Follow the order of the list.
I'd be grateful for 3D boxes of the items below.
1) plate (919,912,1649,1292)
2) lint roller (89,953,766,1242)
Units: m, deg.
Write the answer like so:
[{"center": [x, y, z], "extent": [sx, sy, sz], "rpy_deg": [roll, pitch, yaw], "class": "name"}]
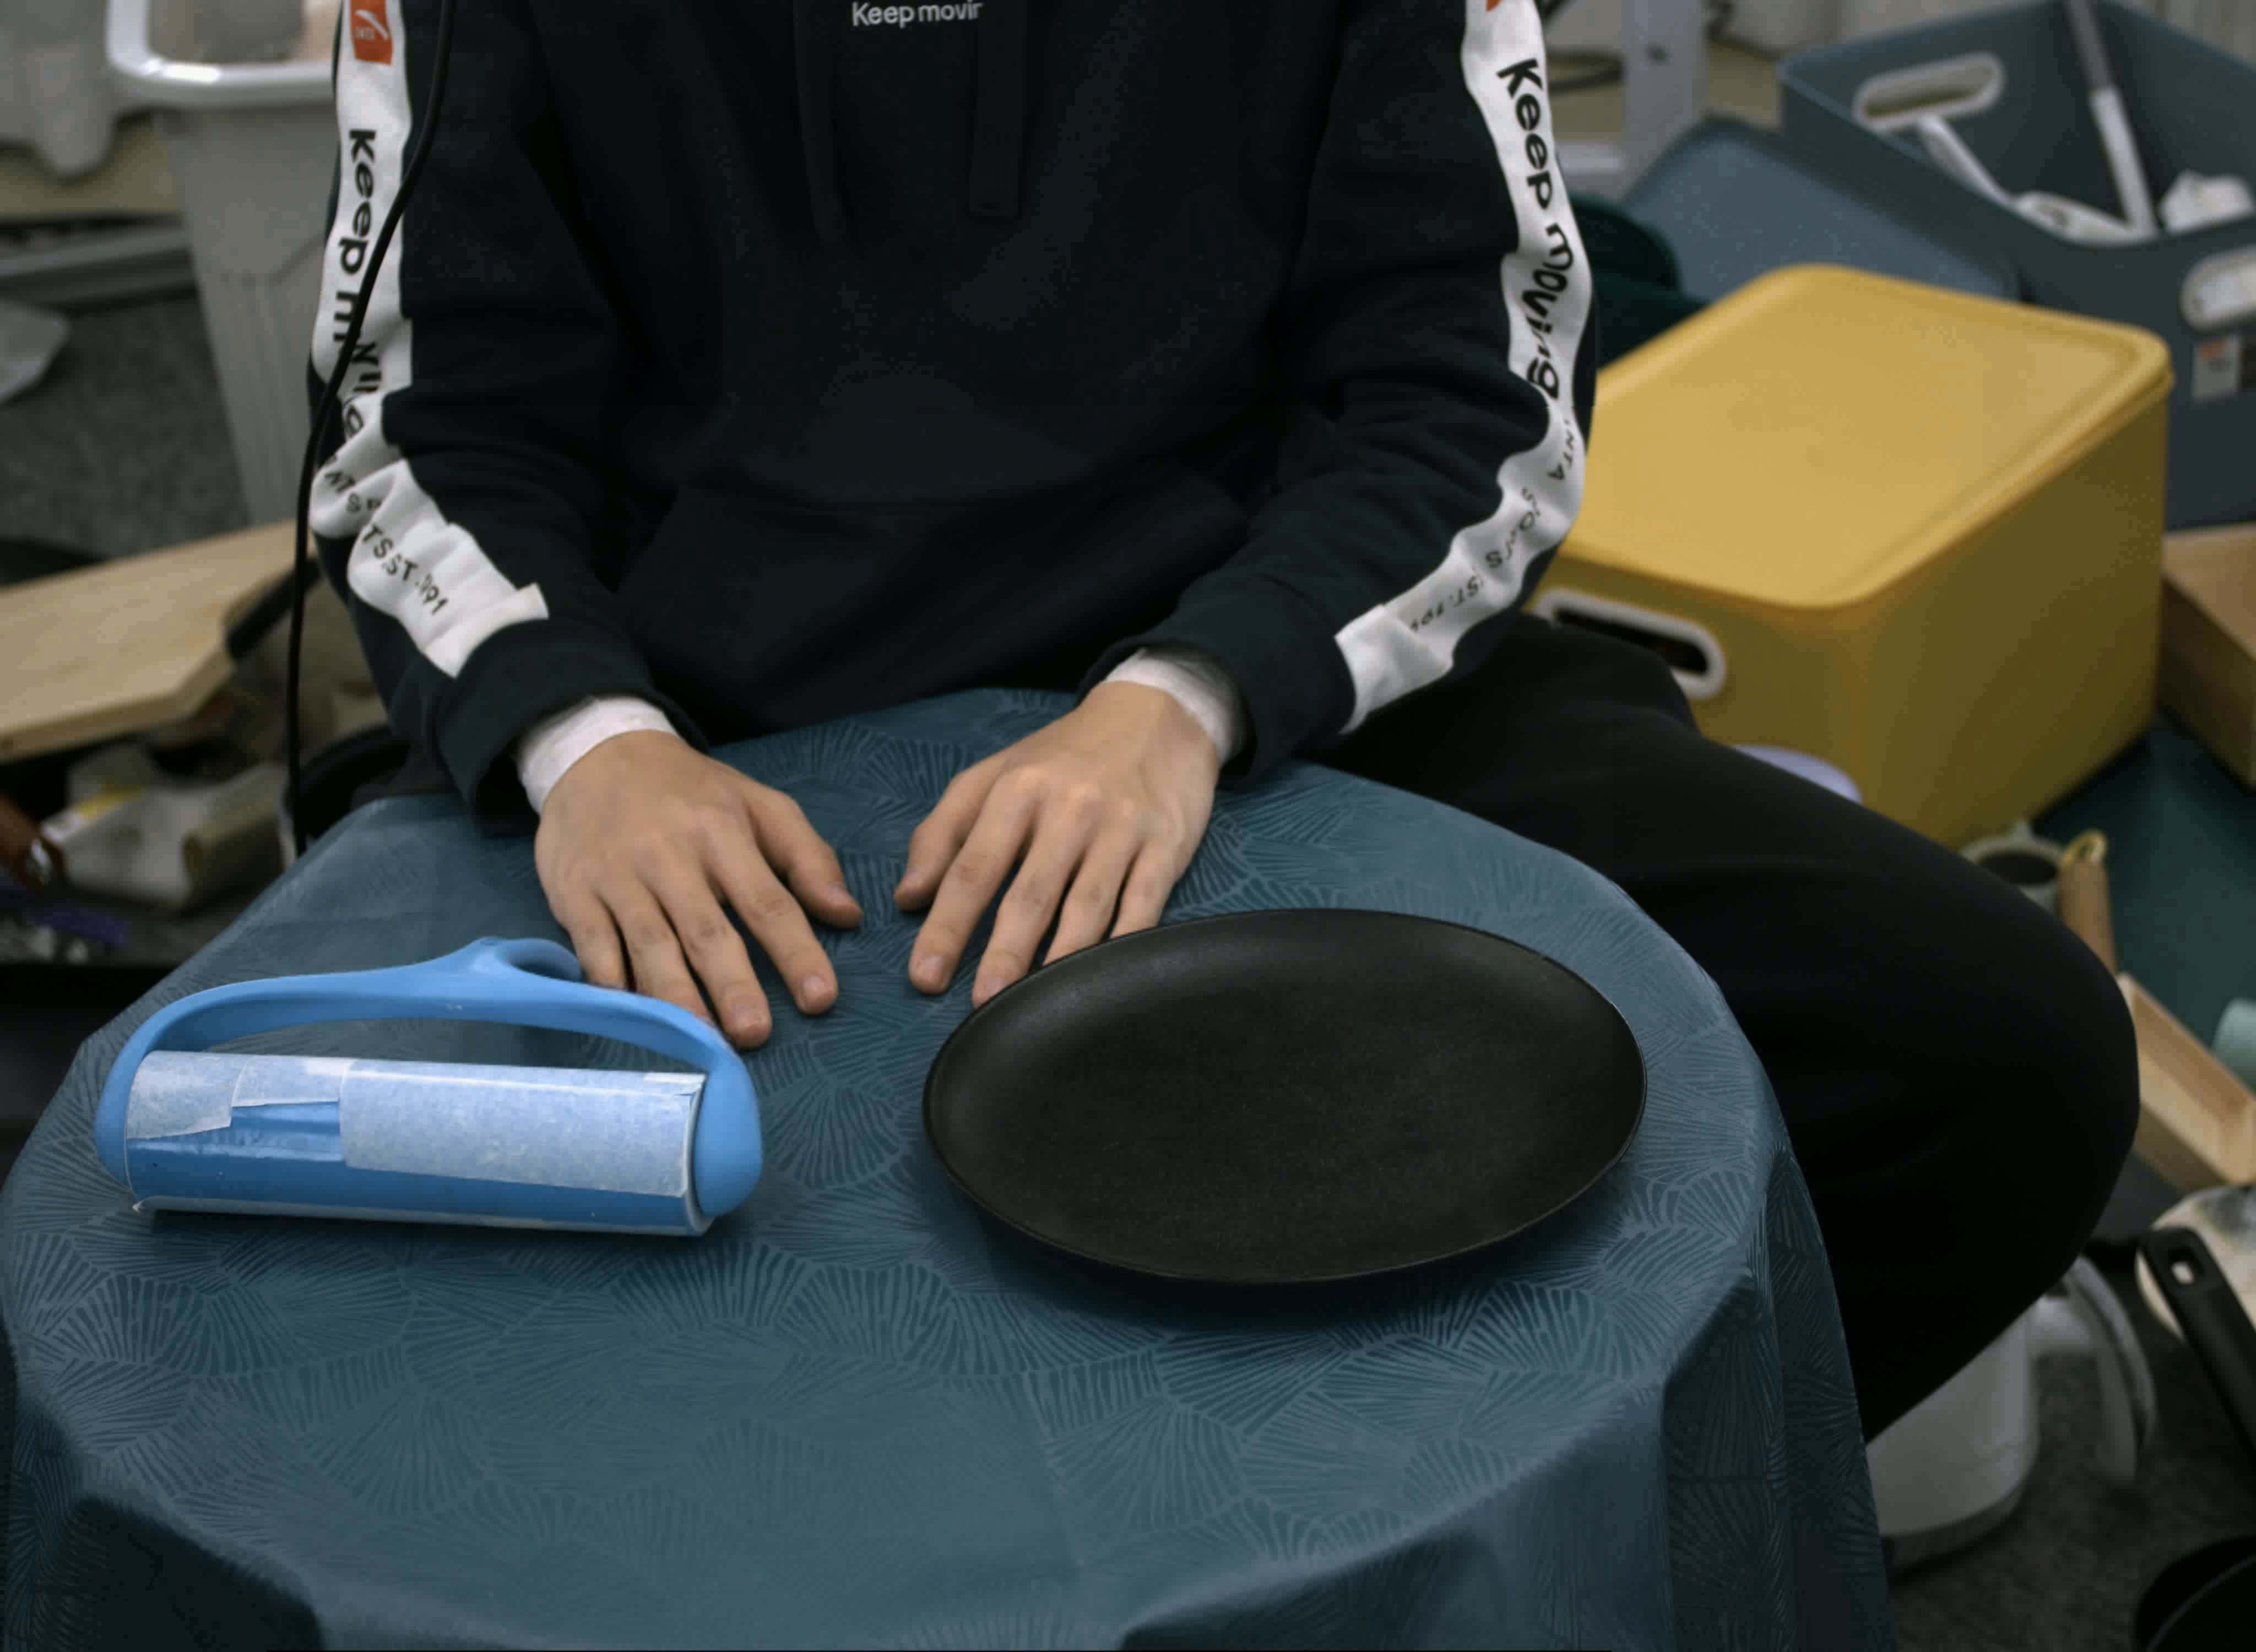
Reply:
[{"center": [0.052, 0.097, 1.878], "extent": [0.243, 0.023, 0.248], "rpy_deg": [-2, 27, 1], "class": "plate"}, {"center": [-0.225, 0.078, 1.906], "extent": [0.227, 0.067, 0.183], "rpy_deg": [0, 27, 7], "class": "lint roller"}]
